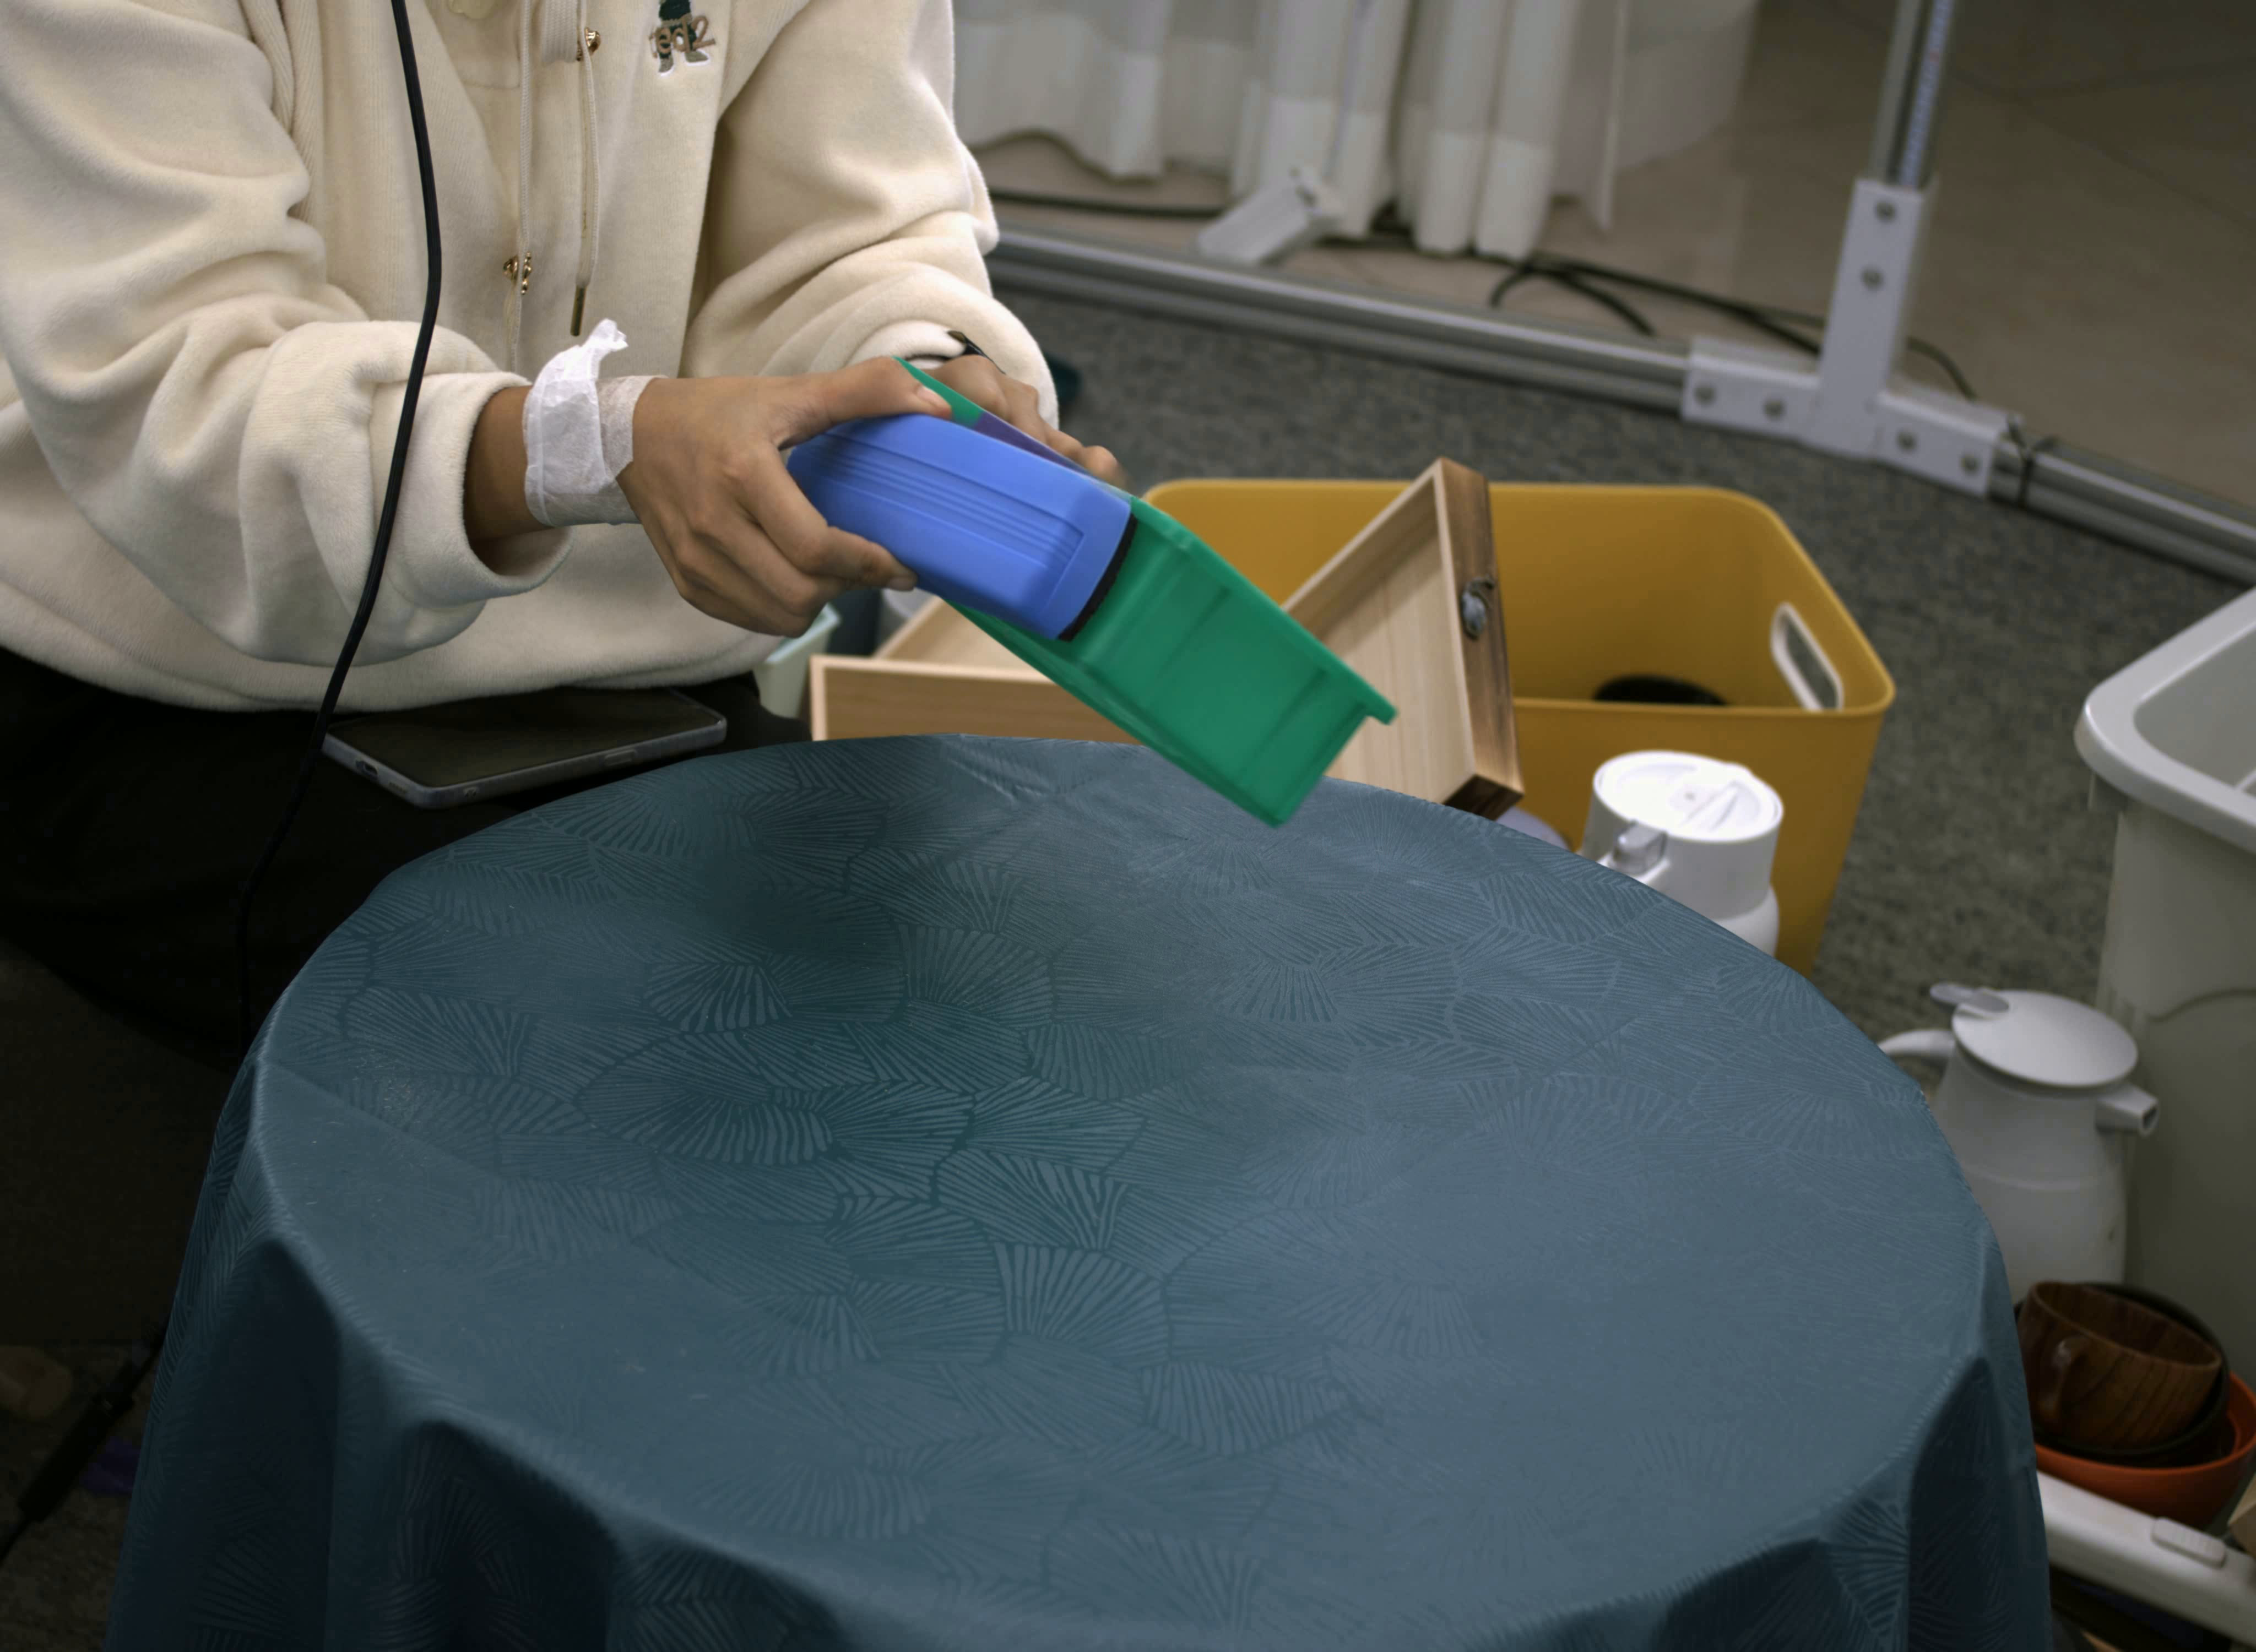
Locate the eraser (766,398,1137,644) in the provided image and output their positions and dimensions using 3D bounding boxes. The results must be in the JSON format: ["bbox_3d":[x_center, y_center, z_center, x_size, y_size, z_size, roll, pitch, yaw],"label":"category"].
[{"bbox_3d":[-0.067,-0.110,1.843,0.047,0.054,0.163,35,-9,-39],"label":"eraser"}]

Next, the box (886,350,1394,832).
[{"bbox_3d":[-0.012,-0.082,1.908,0.137,0.065,0.212,37,0,-41],"label":"box"}]
